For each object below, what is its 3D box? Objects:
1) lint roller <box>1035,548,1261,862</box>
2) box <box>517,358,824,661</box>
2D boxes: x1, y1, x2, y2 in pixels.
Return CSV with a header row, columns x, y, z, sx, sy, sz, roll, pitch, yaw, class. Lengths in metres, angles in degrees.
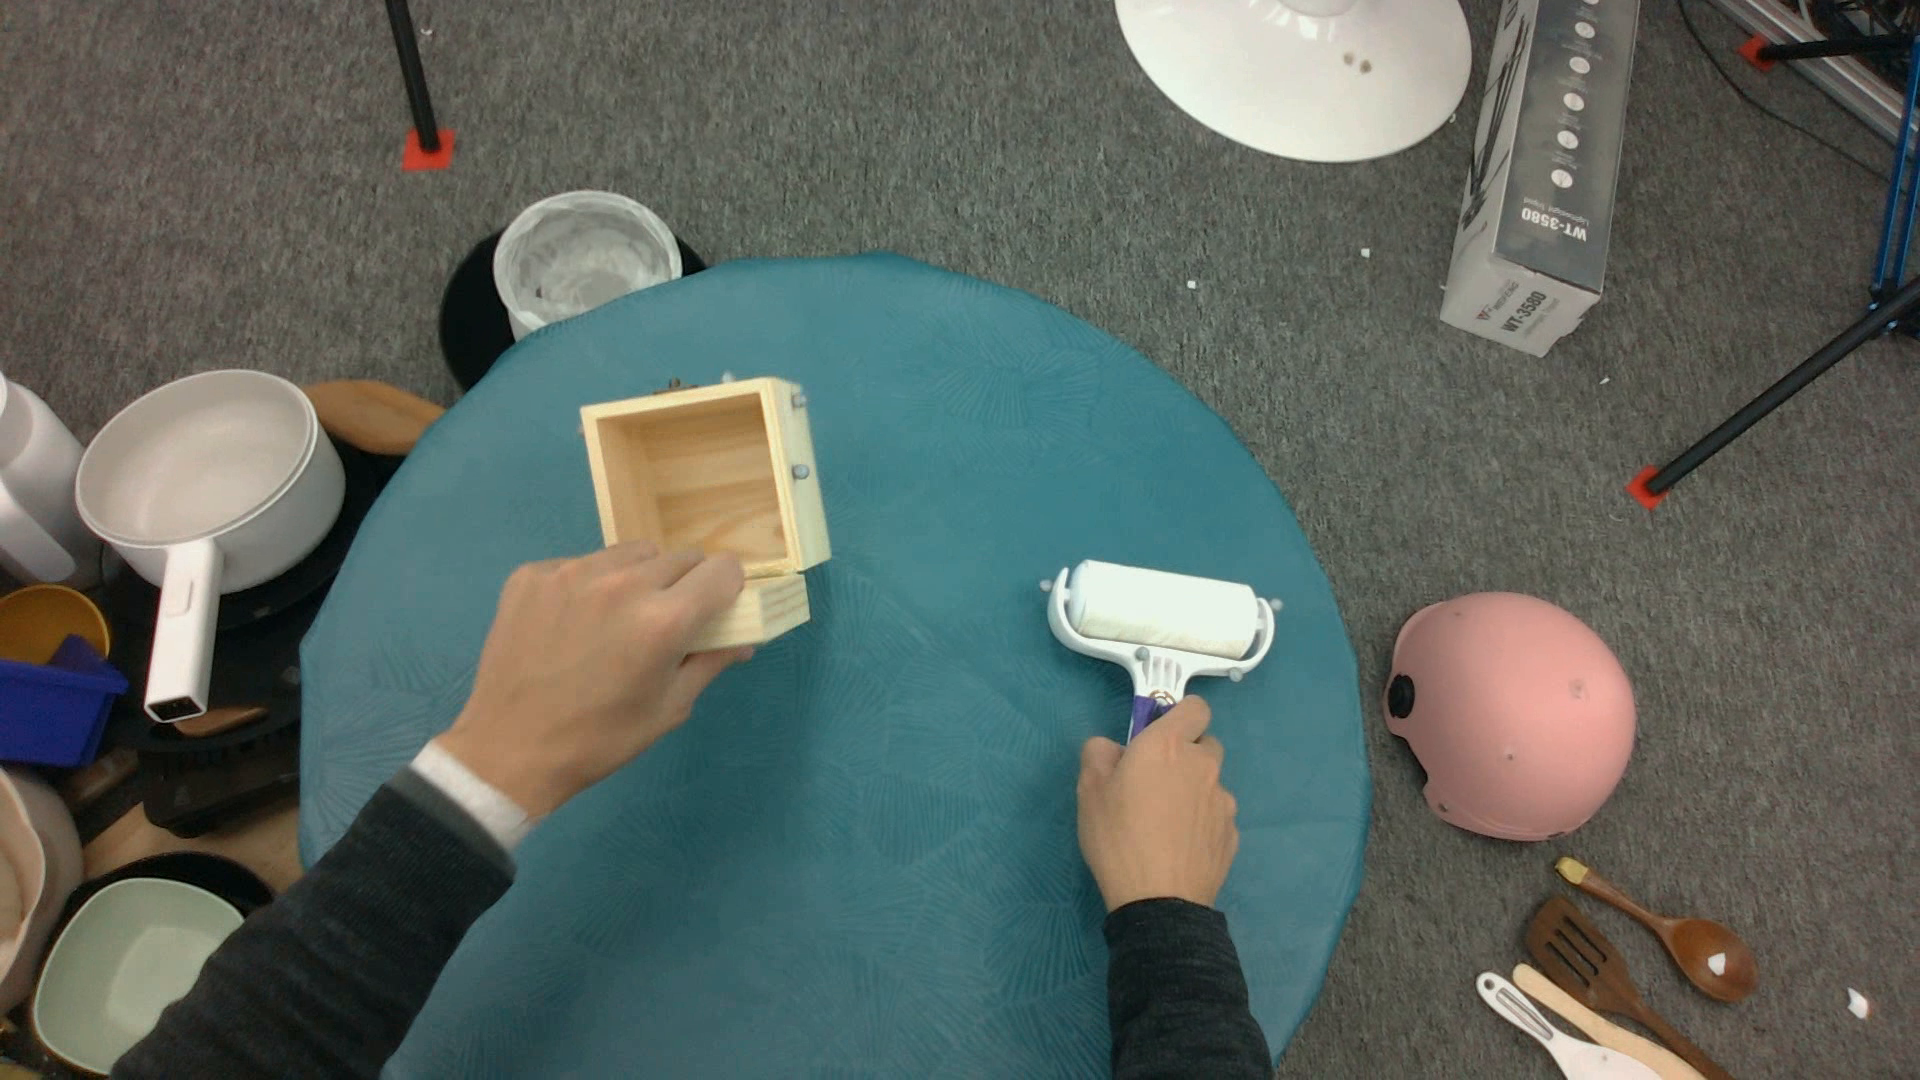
x,y,z,sx,sy,sz,roll,pitch,yaw,class
0.106,0.086,0.766,0.133,0.050,0.181,11,51,-8,lint roller
-0.140,-0.023,0.681,0.102,0.185,0.134,-7,96,7,box
